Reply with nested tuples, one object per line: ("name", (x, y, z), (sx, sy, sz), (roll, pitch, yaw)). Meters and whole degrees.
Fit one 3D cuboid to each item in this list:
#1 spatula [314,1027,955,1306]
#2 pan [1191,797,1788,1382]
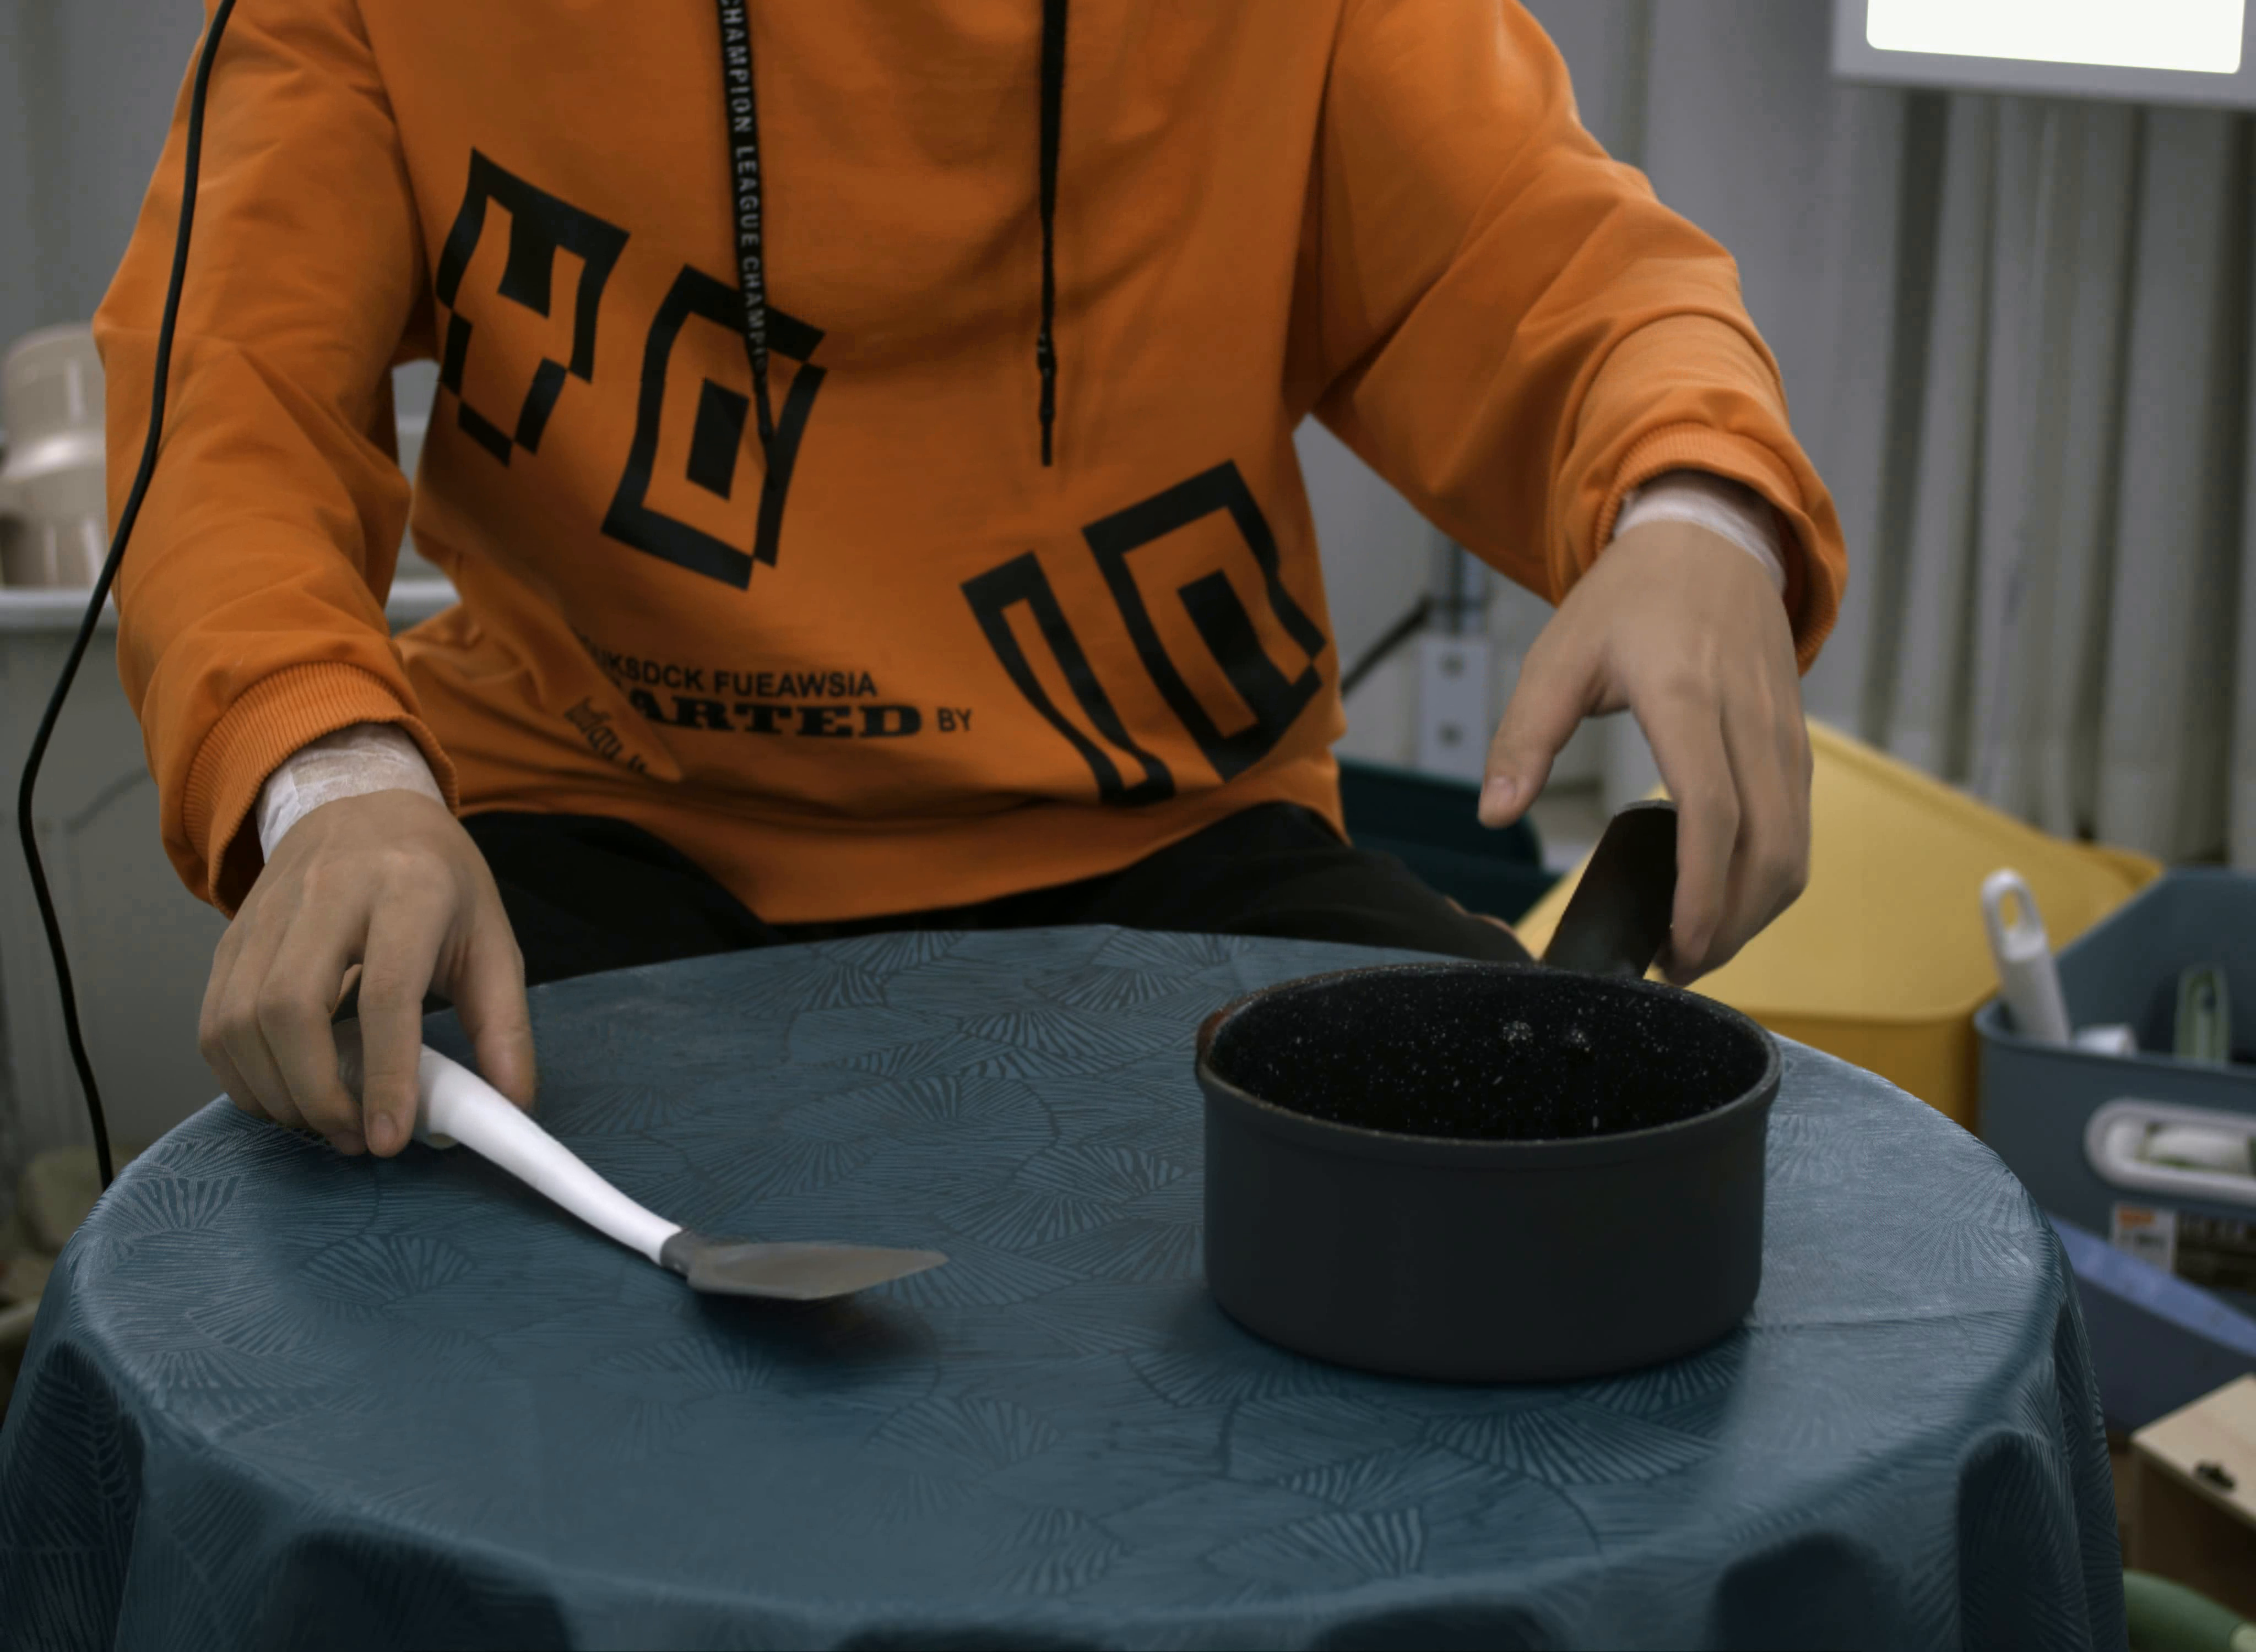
("spatula", (-0.156, 0.107, 1.576), (0.059, 0.032, 0.284), (-7, 16, -40))
("pan", (0.131, 0.075, 1.600), (0.170, 0.087, 0.329), (7, 19, 19))
